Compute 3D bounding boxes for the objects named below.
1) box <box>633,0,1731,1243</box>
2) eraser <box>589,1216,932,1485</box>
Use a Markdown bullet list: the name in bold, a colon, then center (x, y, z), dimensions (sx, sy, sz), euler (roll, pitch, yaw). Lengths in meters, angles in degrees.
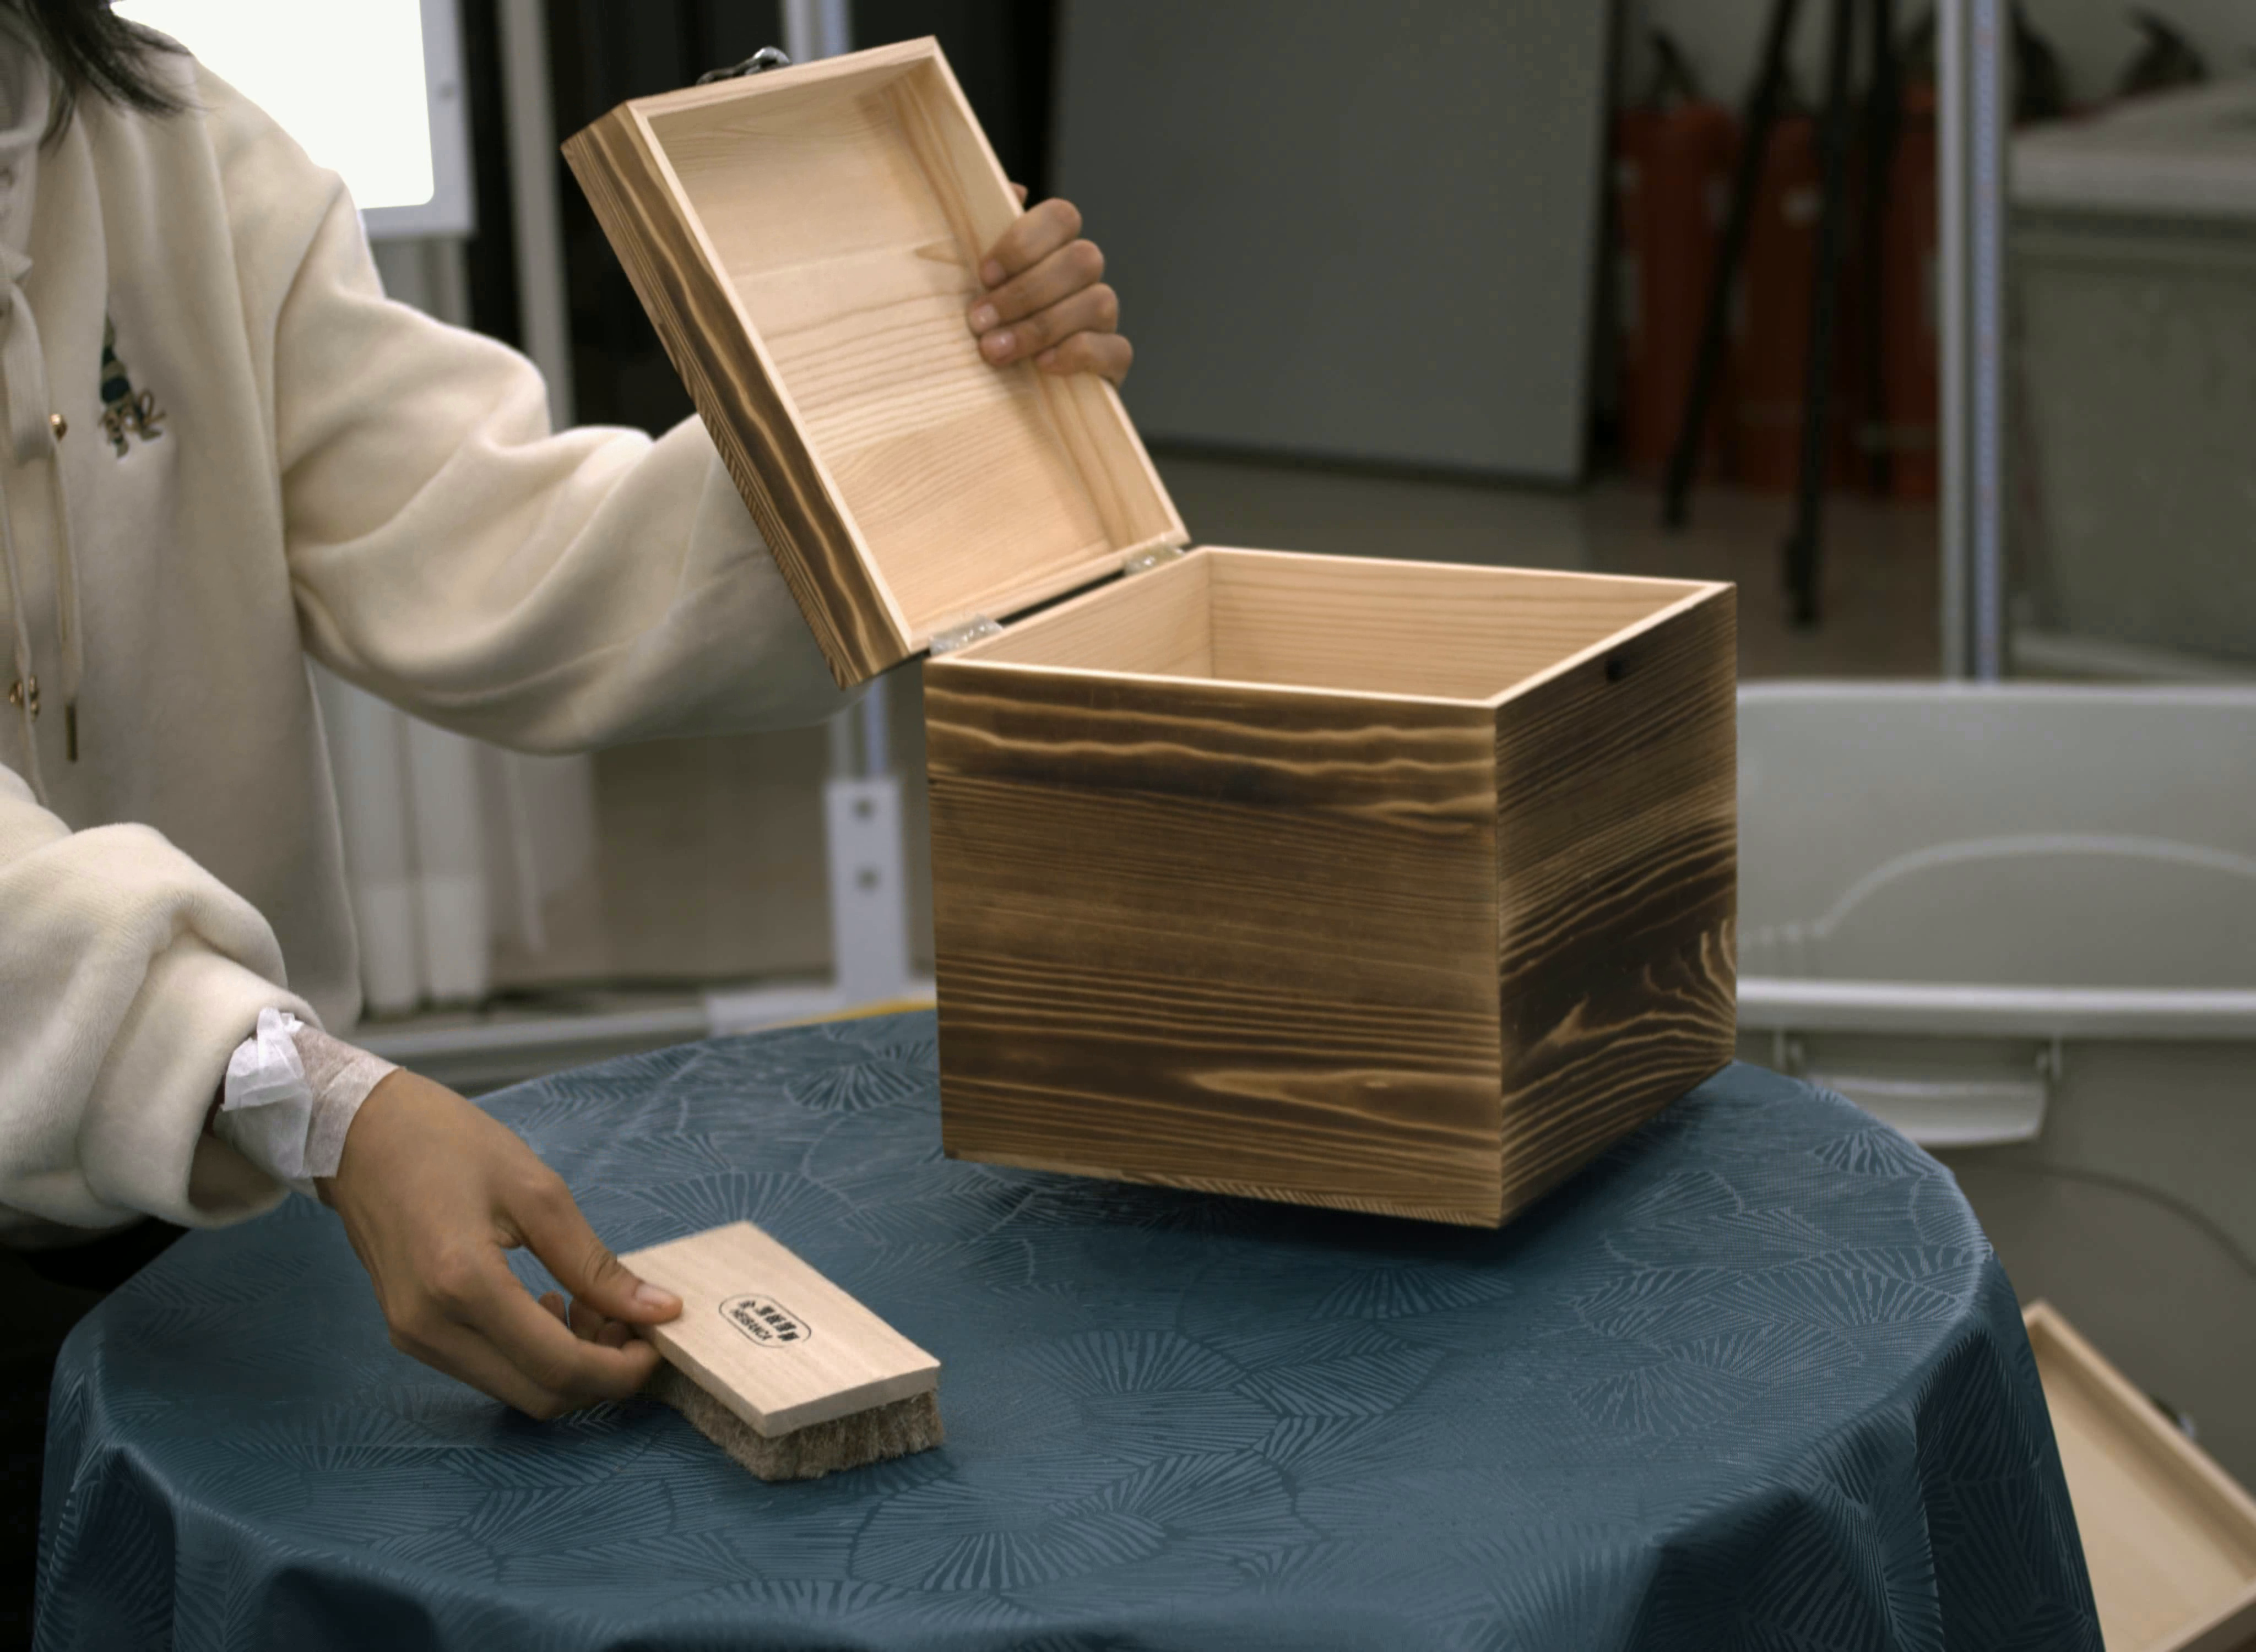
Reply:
- **box**: center (0.021, -0.089, 1.770), dimensions (0.323, 0.379, 0.206), euler (6, 15, 27)
- **eraser**: center (-0.108, 0.155, 1.591), dimensions (0.056, 0.029, 0.141), euler (-15, 19, -22)
